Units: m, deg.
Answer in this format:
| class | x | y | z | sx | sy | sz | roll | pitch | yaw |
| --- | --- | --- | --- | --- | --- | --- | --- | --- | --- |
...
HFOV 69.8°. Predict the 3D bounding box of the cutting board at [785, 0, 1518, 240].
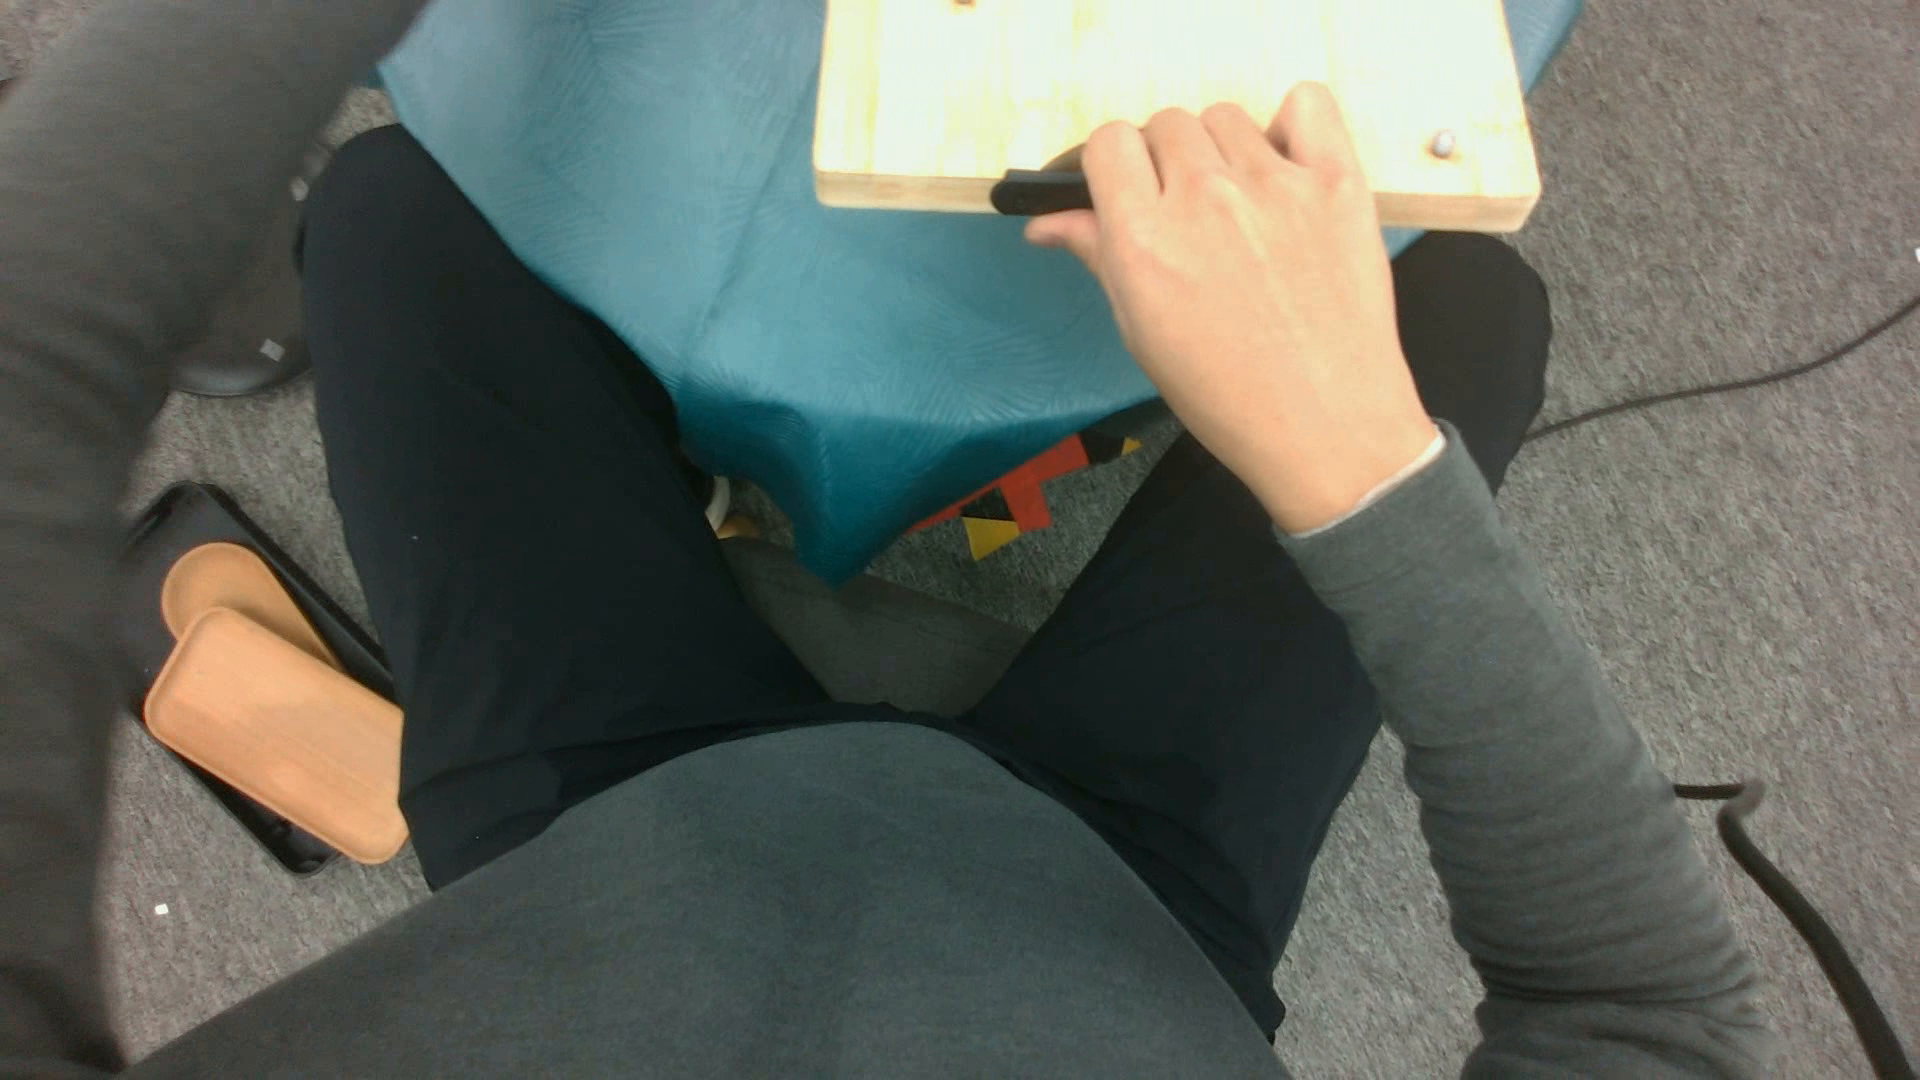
| class | x | y | z | sx | sy | sz | roll | pitch | yaw |
| --- | --- | --- | --- | --- | --- | --- | --- | --- | --- |
| cutting board | 0.067 | -0.261 | 0.539 | 0.251 | 0.023 | 0.350 | 1 | 62 | -2 |
